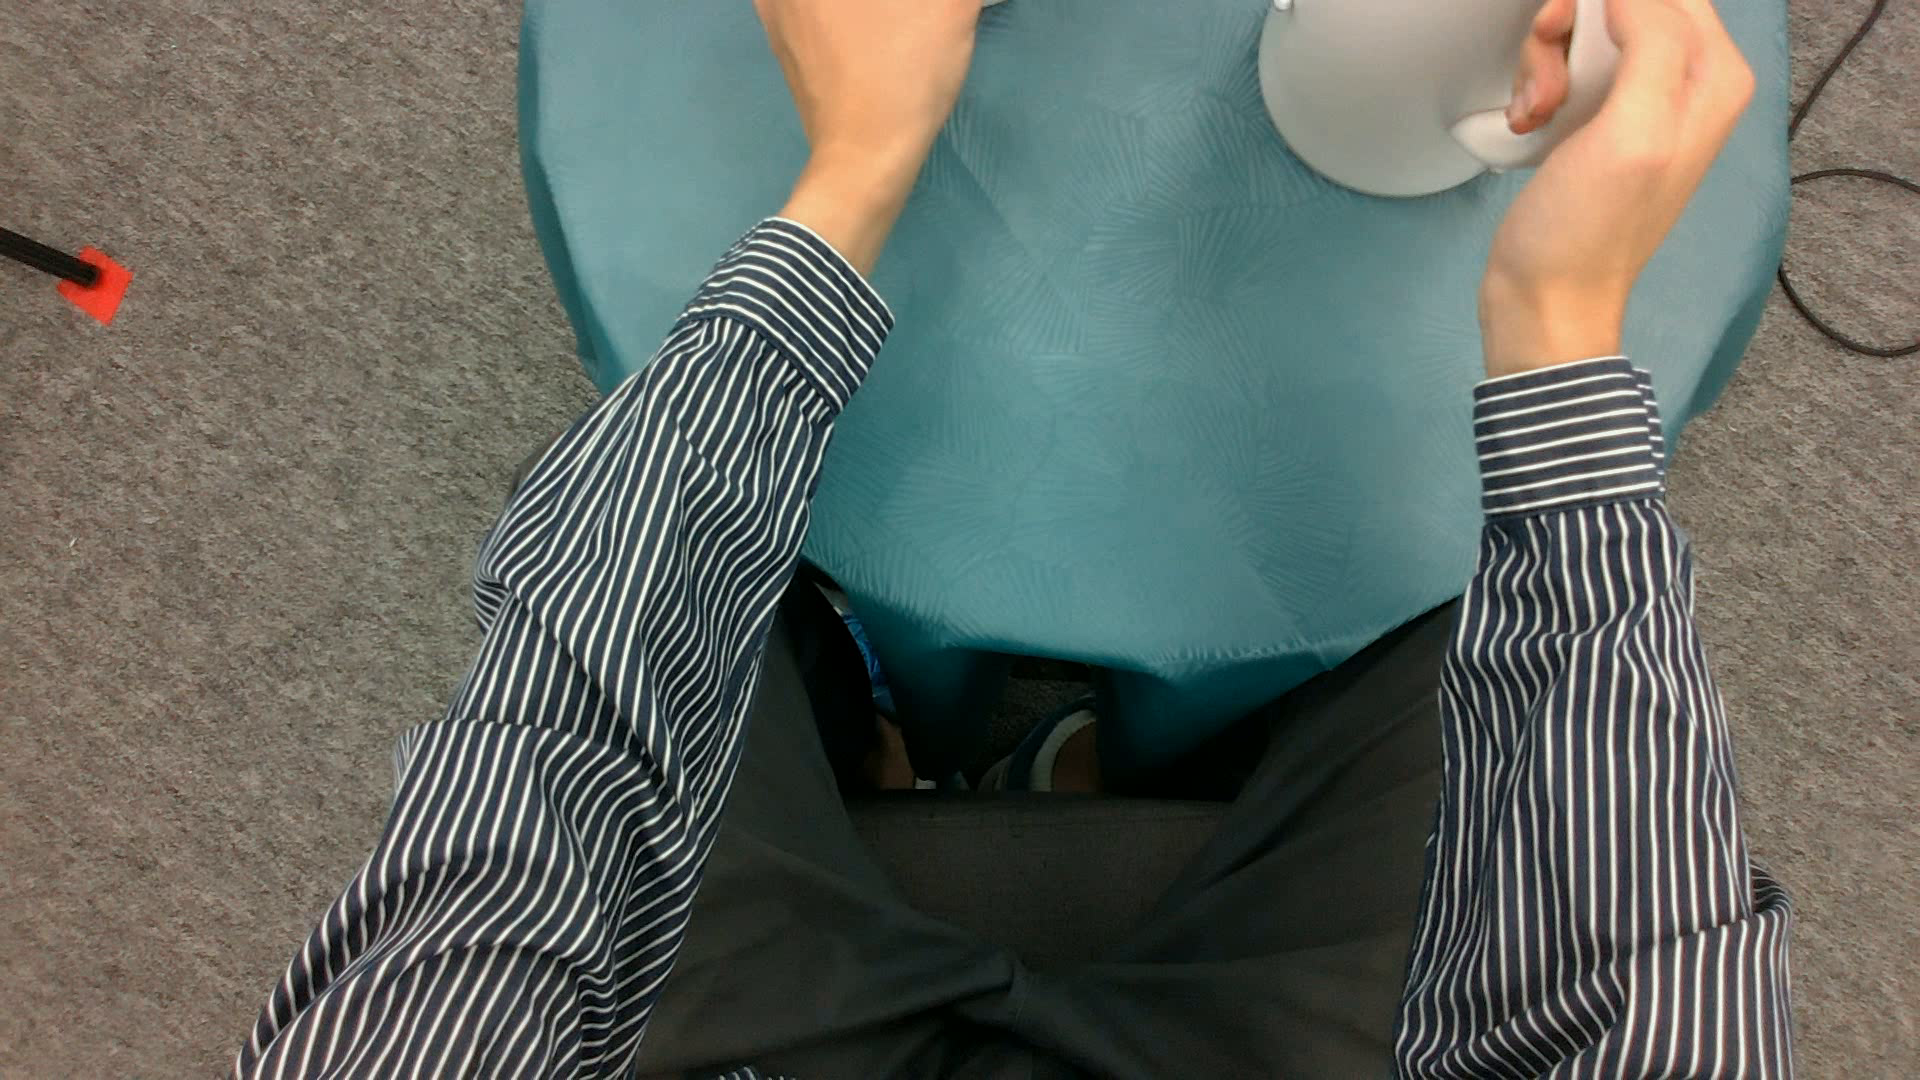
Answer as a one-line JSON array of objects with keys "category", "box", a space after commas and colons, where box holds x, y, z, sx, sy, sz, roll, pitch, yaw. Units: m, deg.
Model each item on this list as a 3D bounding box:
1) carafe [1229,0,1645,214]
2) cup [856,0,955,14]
[{"category": "carafe", "box": [0.200, -0.220, 0.539, 0.132, 0.248, 0.168, -15, 82, -3]}, {"category": "cup", "box": [-0.027, -0.296, 0.613, 0.081, 0.125, 0.082, 0, 84, 0]}]
